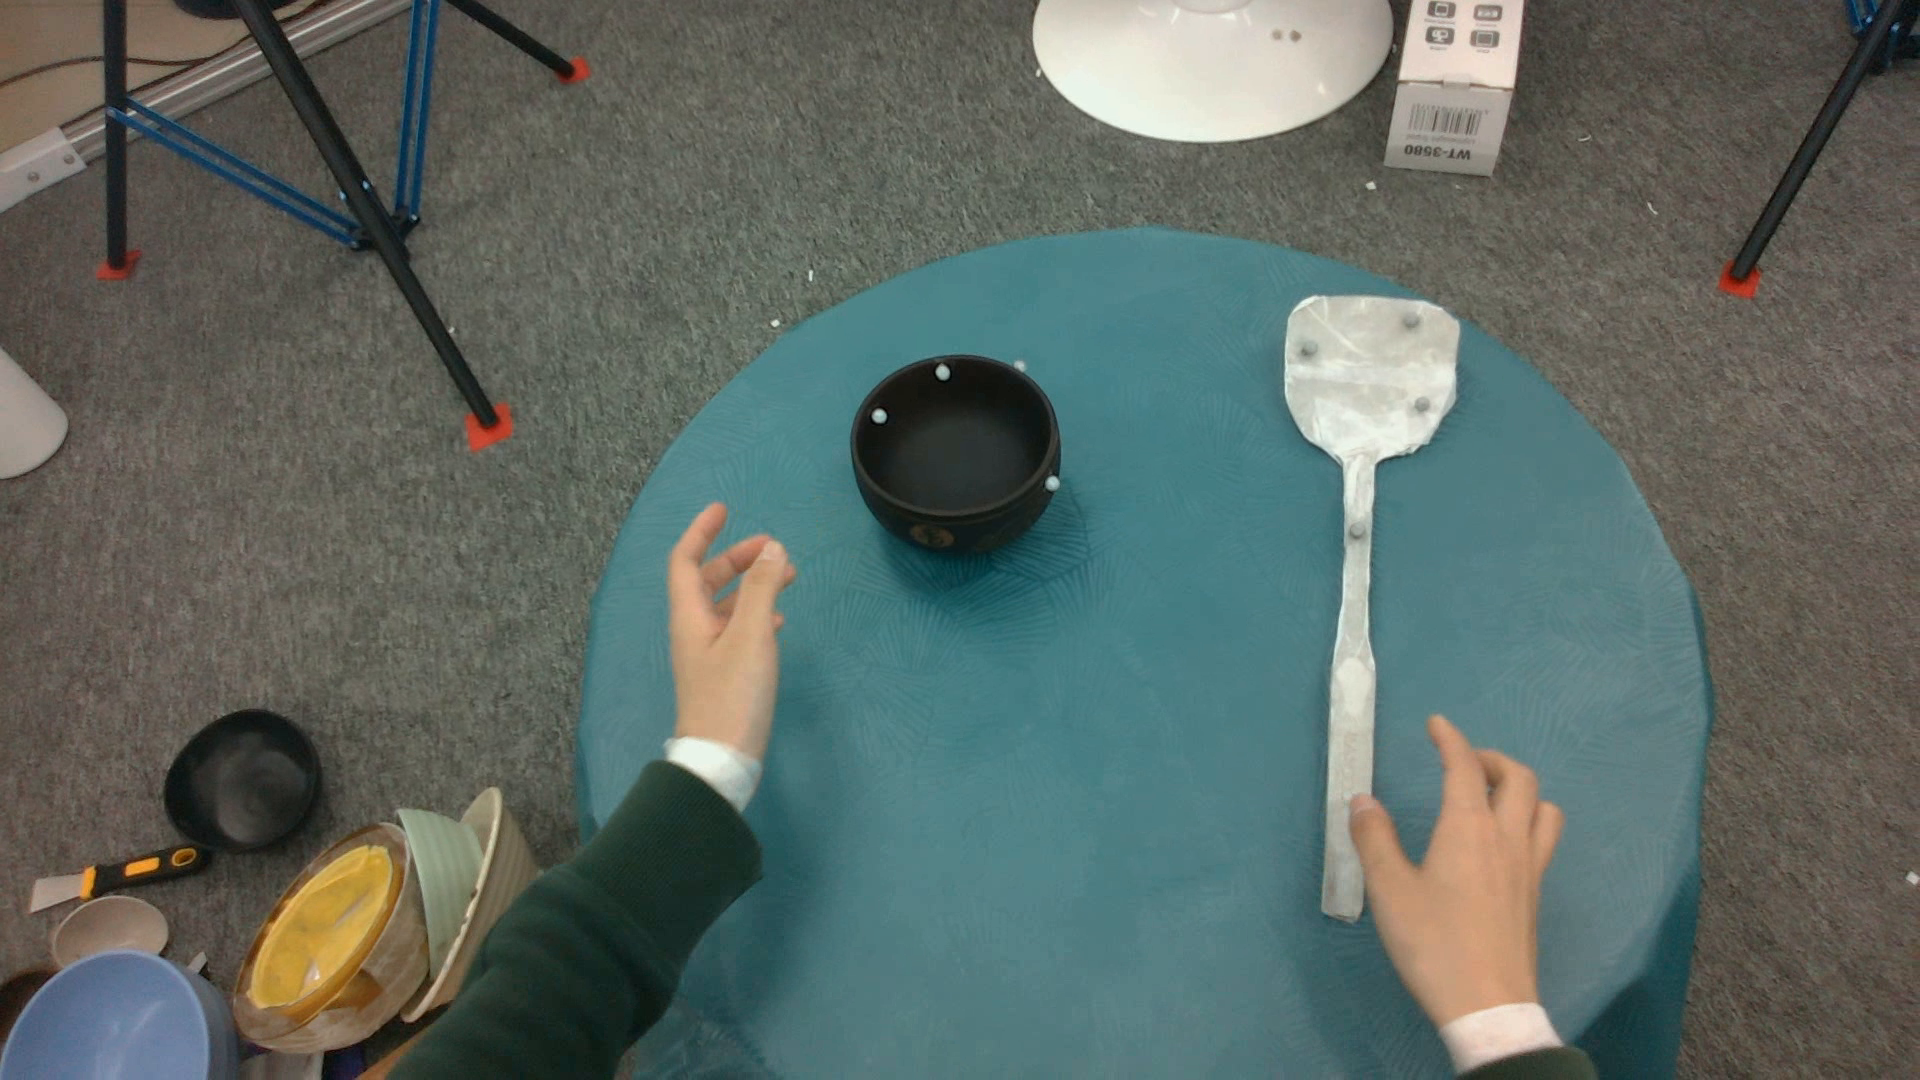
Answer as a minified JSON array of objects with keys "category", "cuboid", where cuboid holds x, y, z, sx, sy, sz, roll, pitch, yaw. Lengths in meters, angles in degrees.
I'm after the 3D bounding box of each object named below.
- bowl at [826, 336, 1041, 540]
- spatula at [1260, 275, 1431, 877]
[{"category":"bowl","cuboid":[-0.013,-0.050,0.775,0.118,0.069,0.118,-3,56,4]},{"category":"spatula","cuboid":[0.198,0.004,0.744,0.098,0.044,0.366,9,57,8]}]
